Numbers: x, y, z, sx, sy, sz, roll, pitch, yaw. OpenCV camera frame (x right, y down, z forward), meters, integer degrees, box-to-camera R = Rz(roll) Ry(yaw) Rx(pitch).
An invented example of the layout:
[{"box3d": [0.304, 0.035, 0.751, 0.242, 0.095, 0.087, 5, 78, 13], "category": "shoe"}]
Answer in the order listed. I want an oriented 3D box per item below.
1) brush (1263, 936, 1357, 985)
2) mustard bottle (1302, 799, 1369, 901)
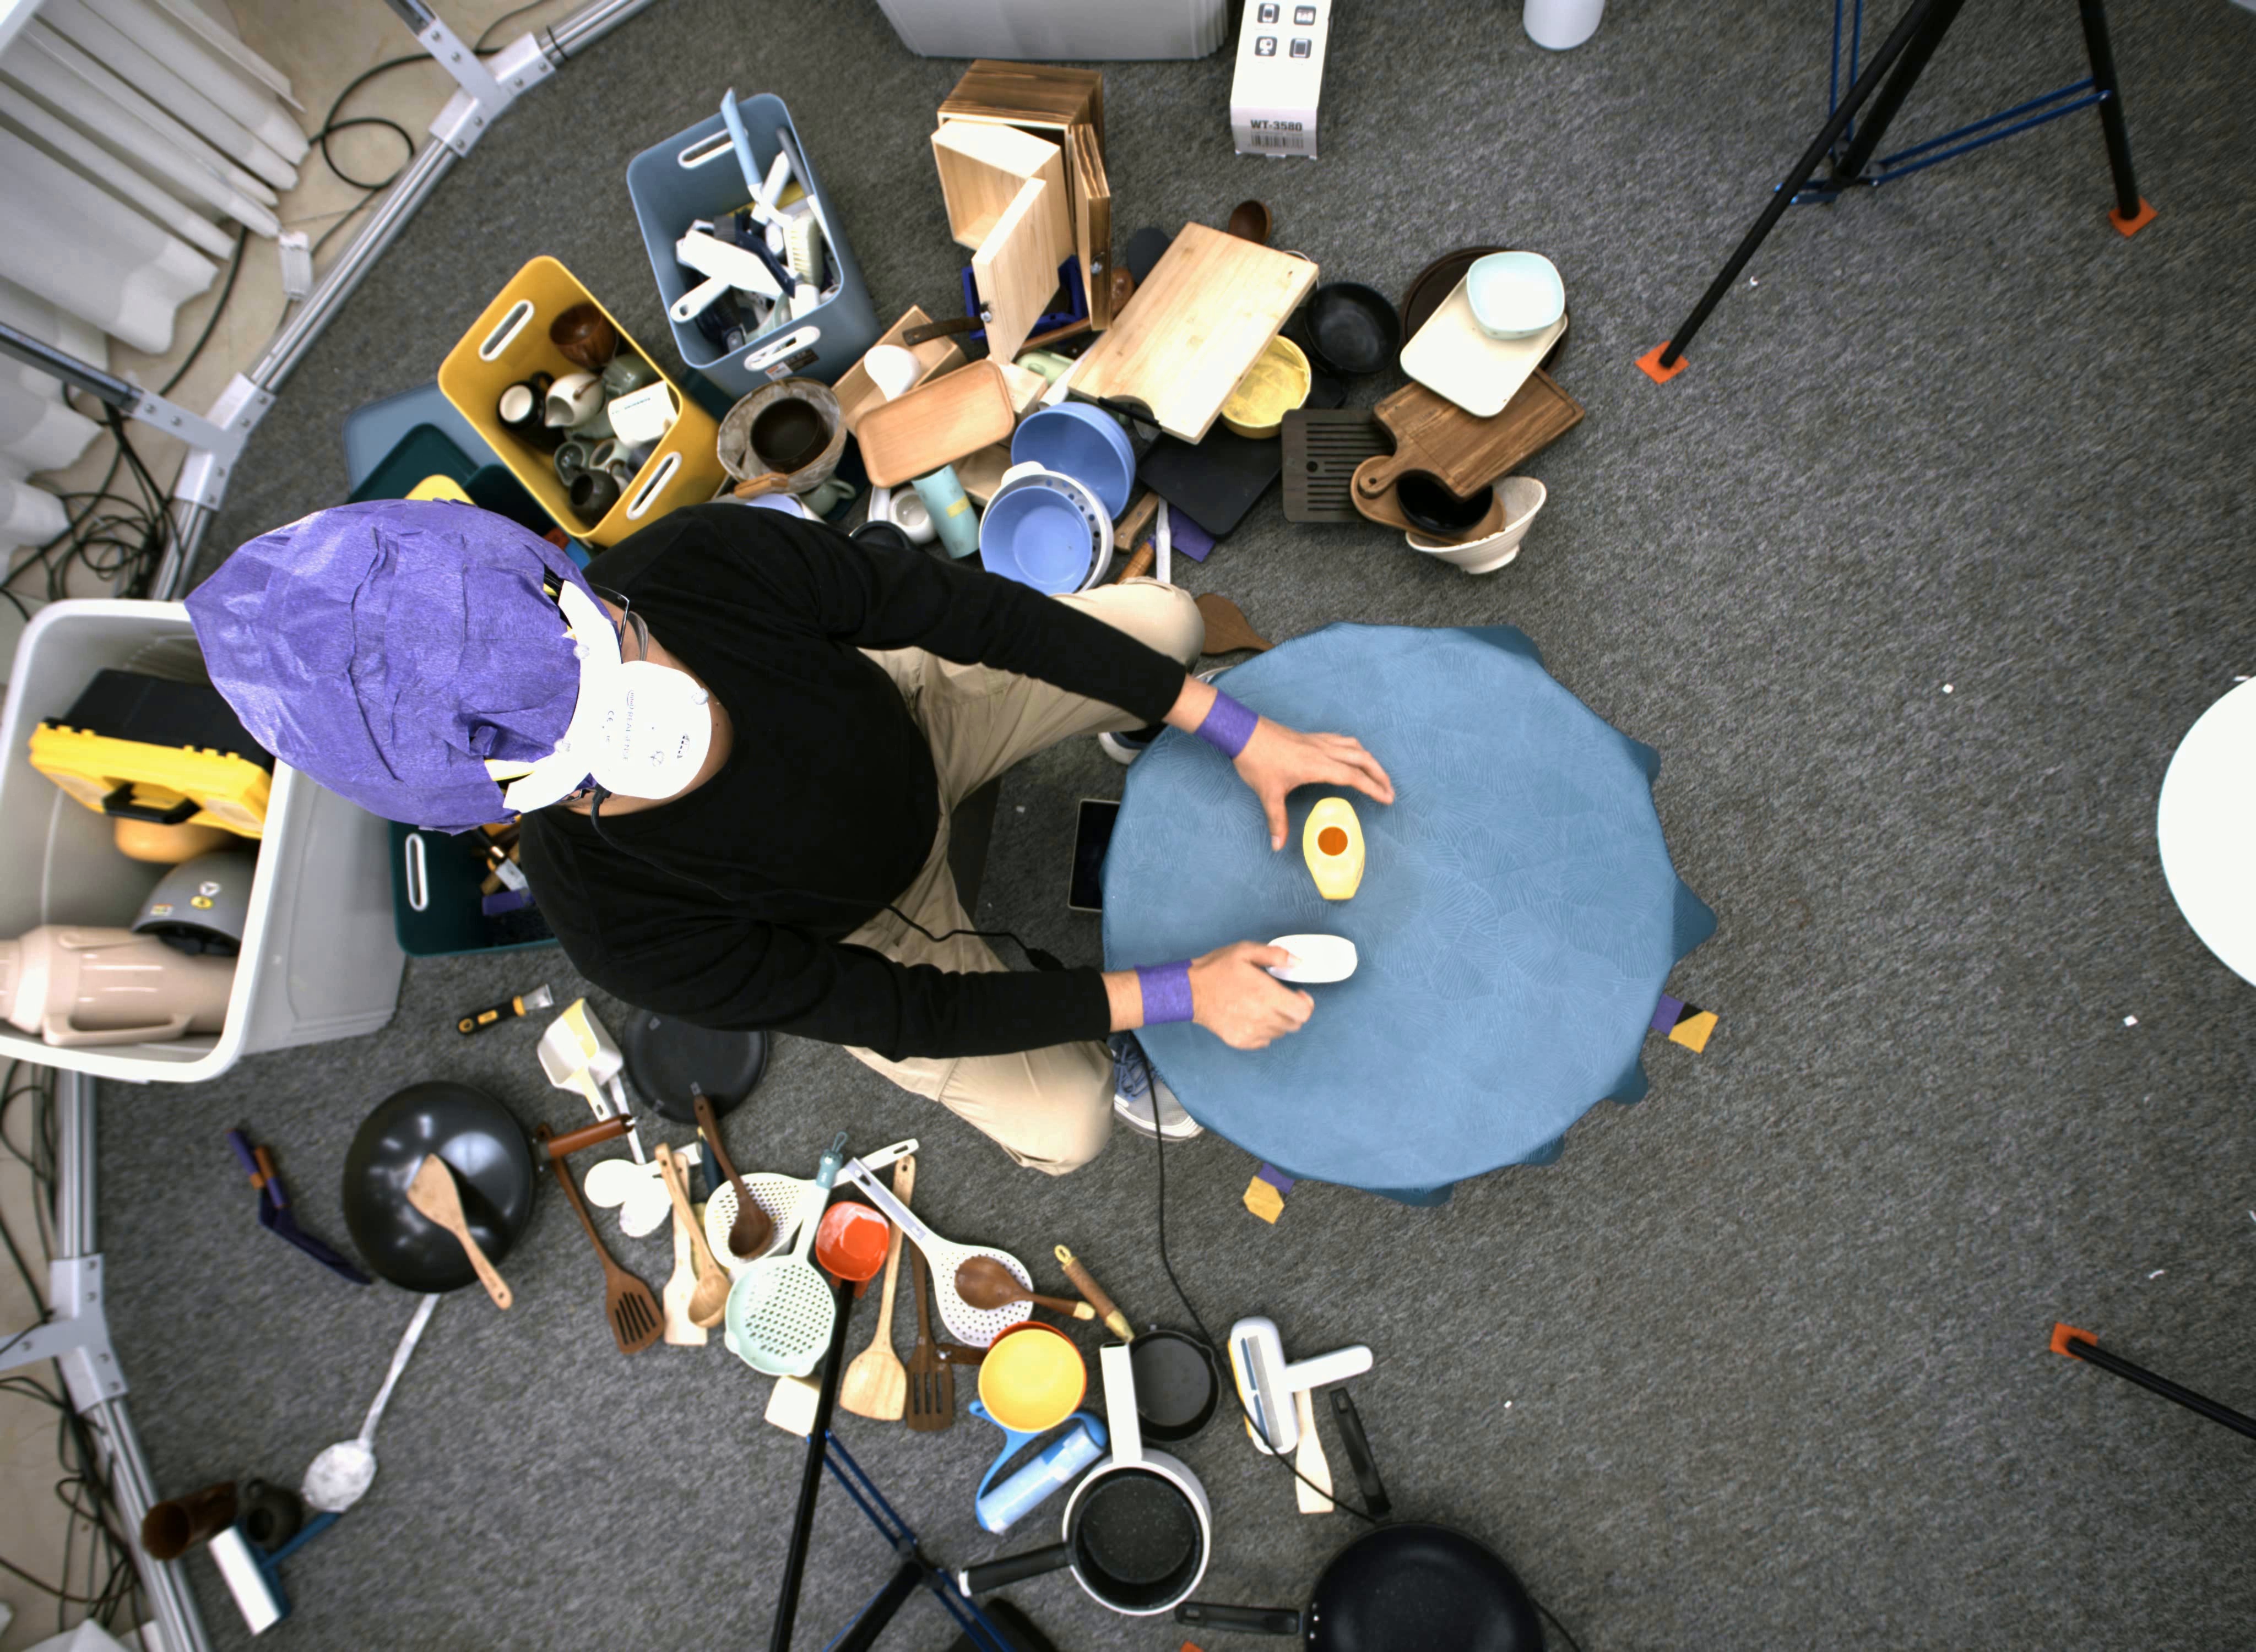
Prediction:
[{"box3d": [0.188, 0.138, 1.432, 0.099, 0.073, 0.050, 2, 84, 9], "category": "brush"}, {"box3d": [0.209, 0.024, 1.388, 0.059, 0.172, 0.098, -5, 85, 12], "category": "mustard bottle"}]
